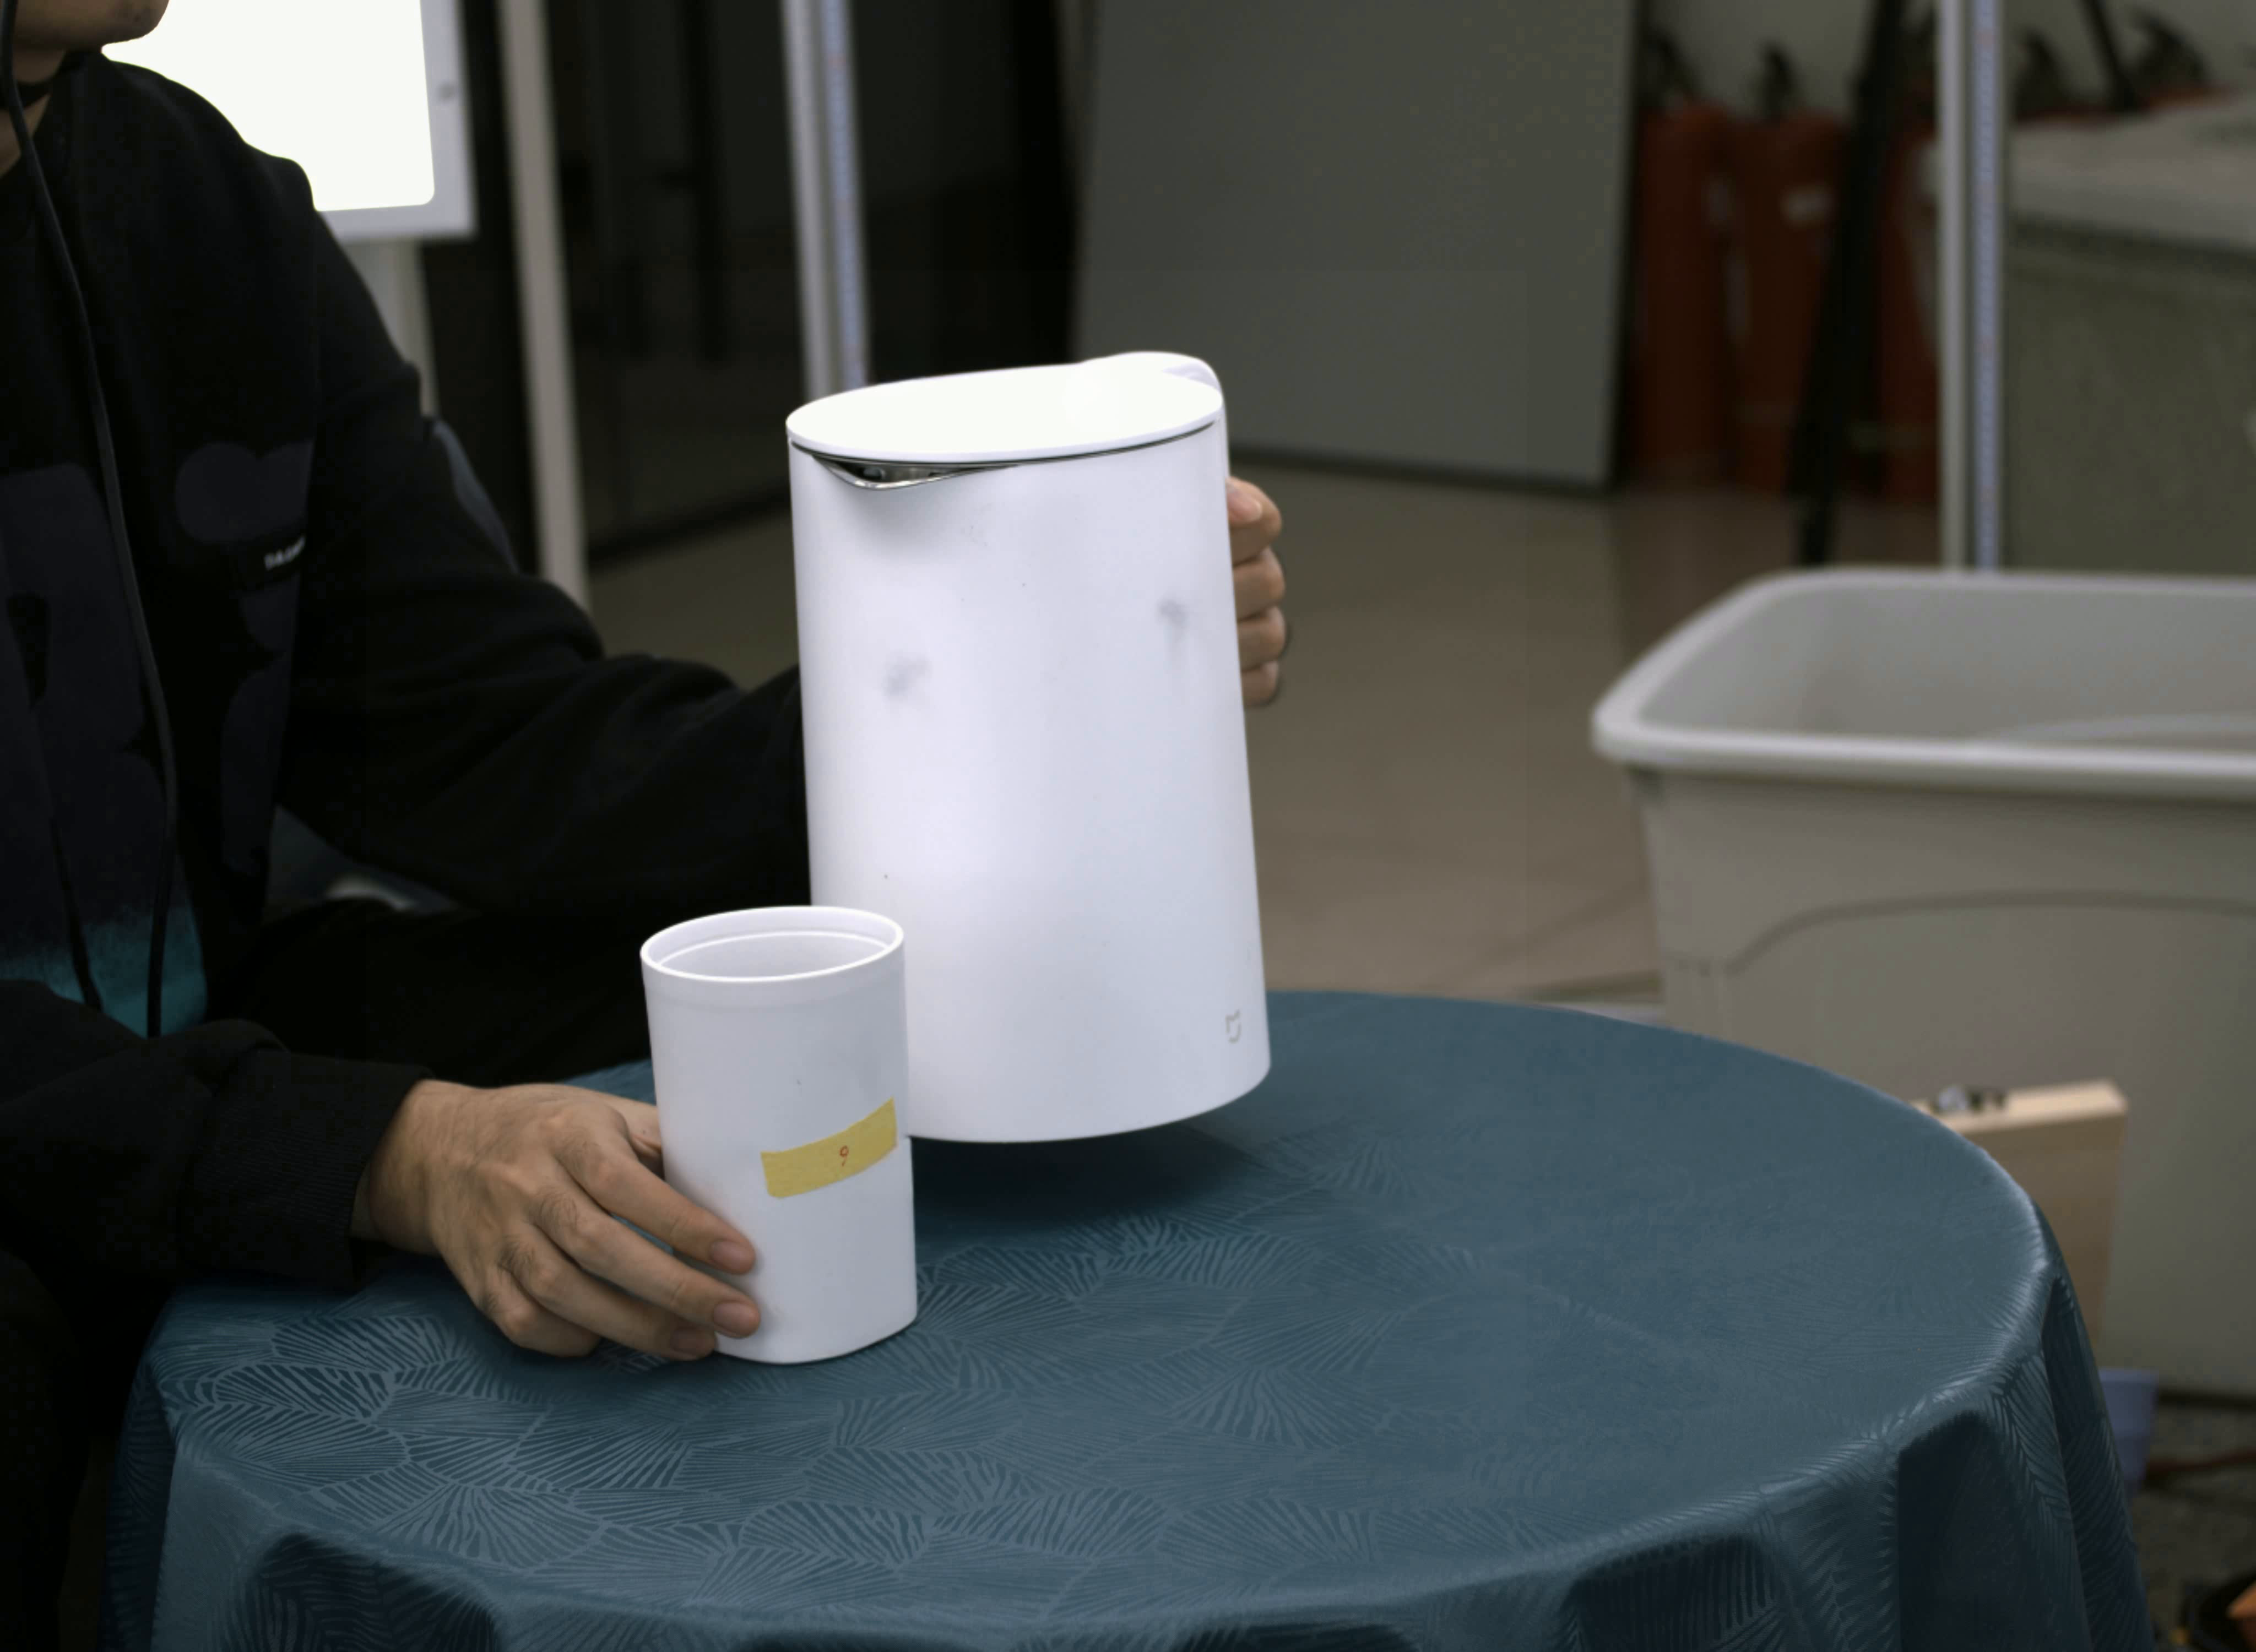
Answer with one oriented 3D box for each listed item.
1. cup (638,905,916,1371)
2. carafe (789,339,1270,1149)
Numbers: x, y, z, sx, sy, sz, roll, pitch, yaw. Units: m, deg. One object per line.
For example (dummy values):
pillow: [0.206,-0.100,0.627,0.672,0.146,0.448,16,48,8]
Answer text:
cup: [-0.104,0.095,1.647,0.080,0.127,0.082,-4,13,0]
carafe: [-0.020,-0.033,1.795,0.153,0.243,0.210,5,17,30]
